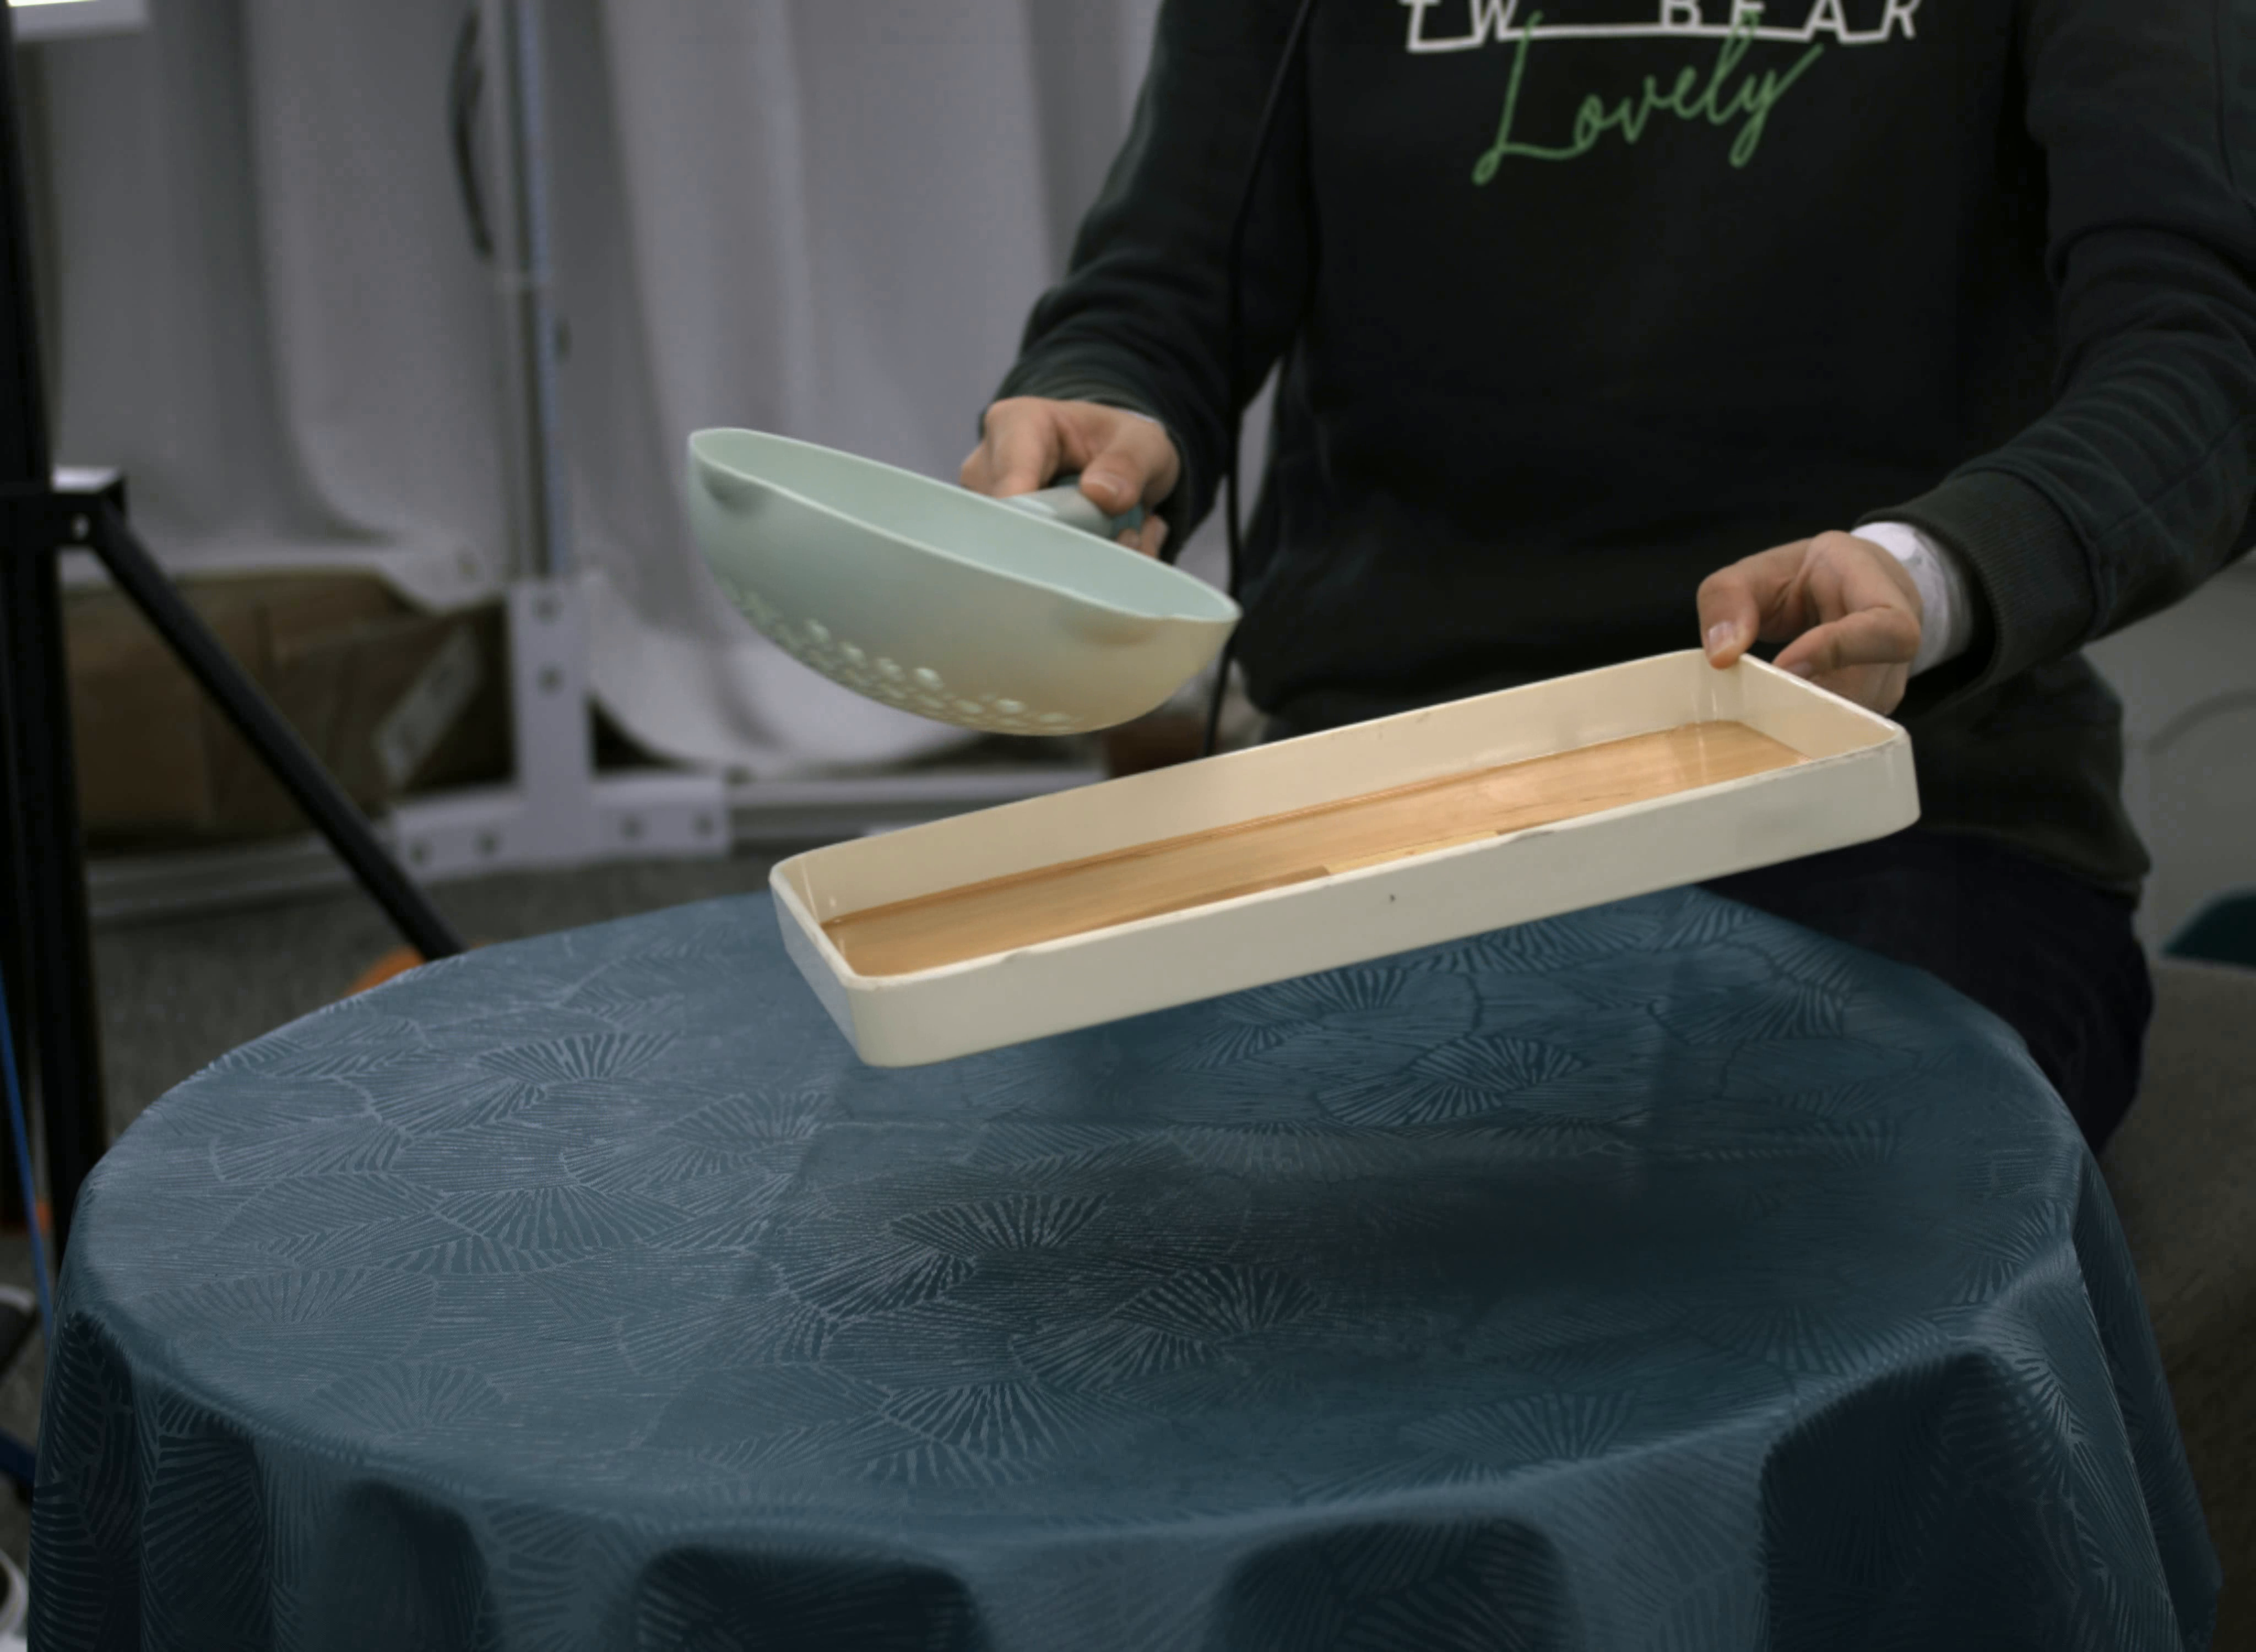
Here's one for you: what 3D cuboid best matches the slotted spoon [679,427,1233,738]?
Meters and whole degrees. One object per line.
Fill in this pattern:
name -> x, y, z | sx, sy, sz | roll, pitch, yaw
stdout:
slotted spoon -> -0.037, -0.087, 1.648 | 0.170, 0.075, 0.356 | 21, 17, 7

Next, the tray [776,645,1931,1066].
tray -> 0.058, 0.006, 1.492 | 0.297, 0.027, 0.193 | -13, 12, -7
